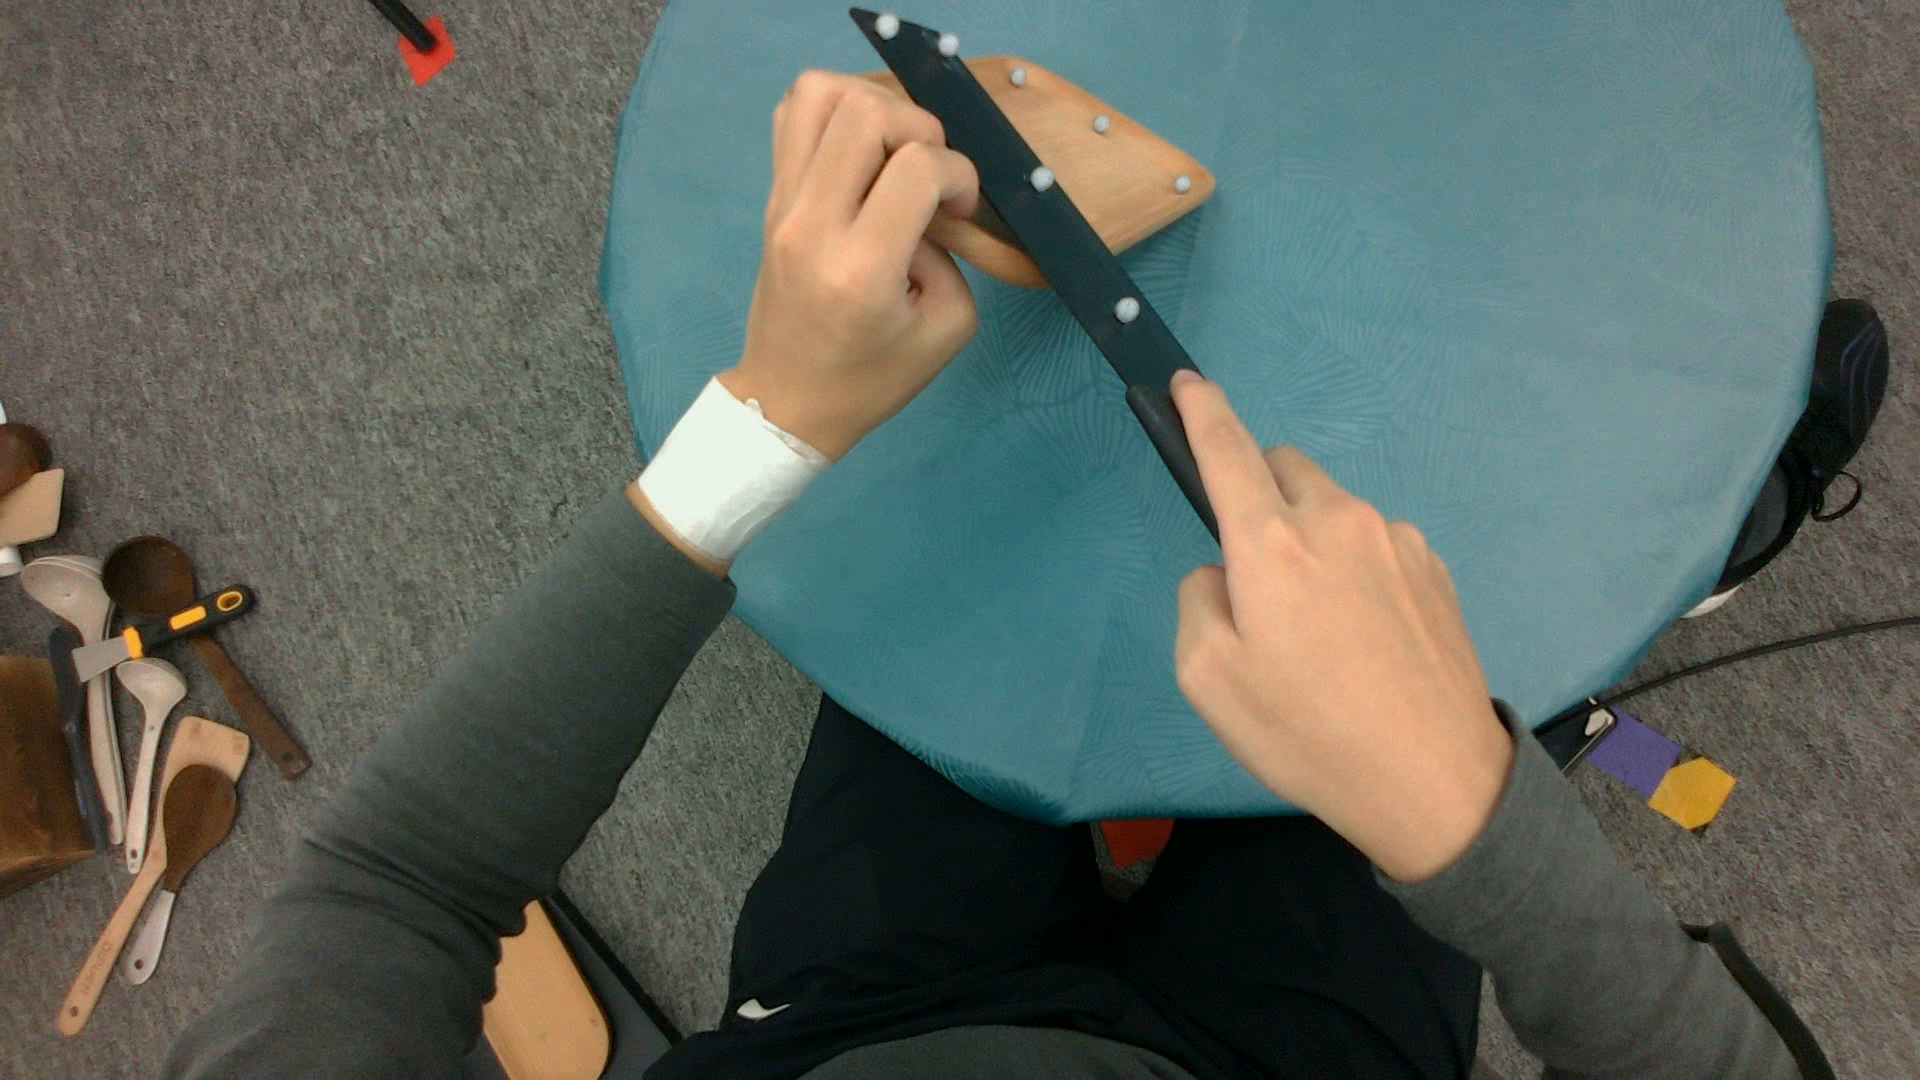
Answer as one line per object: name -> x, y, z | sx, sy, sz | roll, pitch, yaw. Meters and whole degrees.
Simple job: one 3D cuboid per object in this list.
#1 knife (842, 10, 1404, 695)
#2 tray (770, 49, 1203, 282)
knife -> 0.056, -0.074, 0.484 | 0.021, 0.081, 0.302 | -42, 74, 31
tray -> 0.023, -0.167, 0.591 | 0.130, 0.252, 0.023 | 33, 122, 10
